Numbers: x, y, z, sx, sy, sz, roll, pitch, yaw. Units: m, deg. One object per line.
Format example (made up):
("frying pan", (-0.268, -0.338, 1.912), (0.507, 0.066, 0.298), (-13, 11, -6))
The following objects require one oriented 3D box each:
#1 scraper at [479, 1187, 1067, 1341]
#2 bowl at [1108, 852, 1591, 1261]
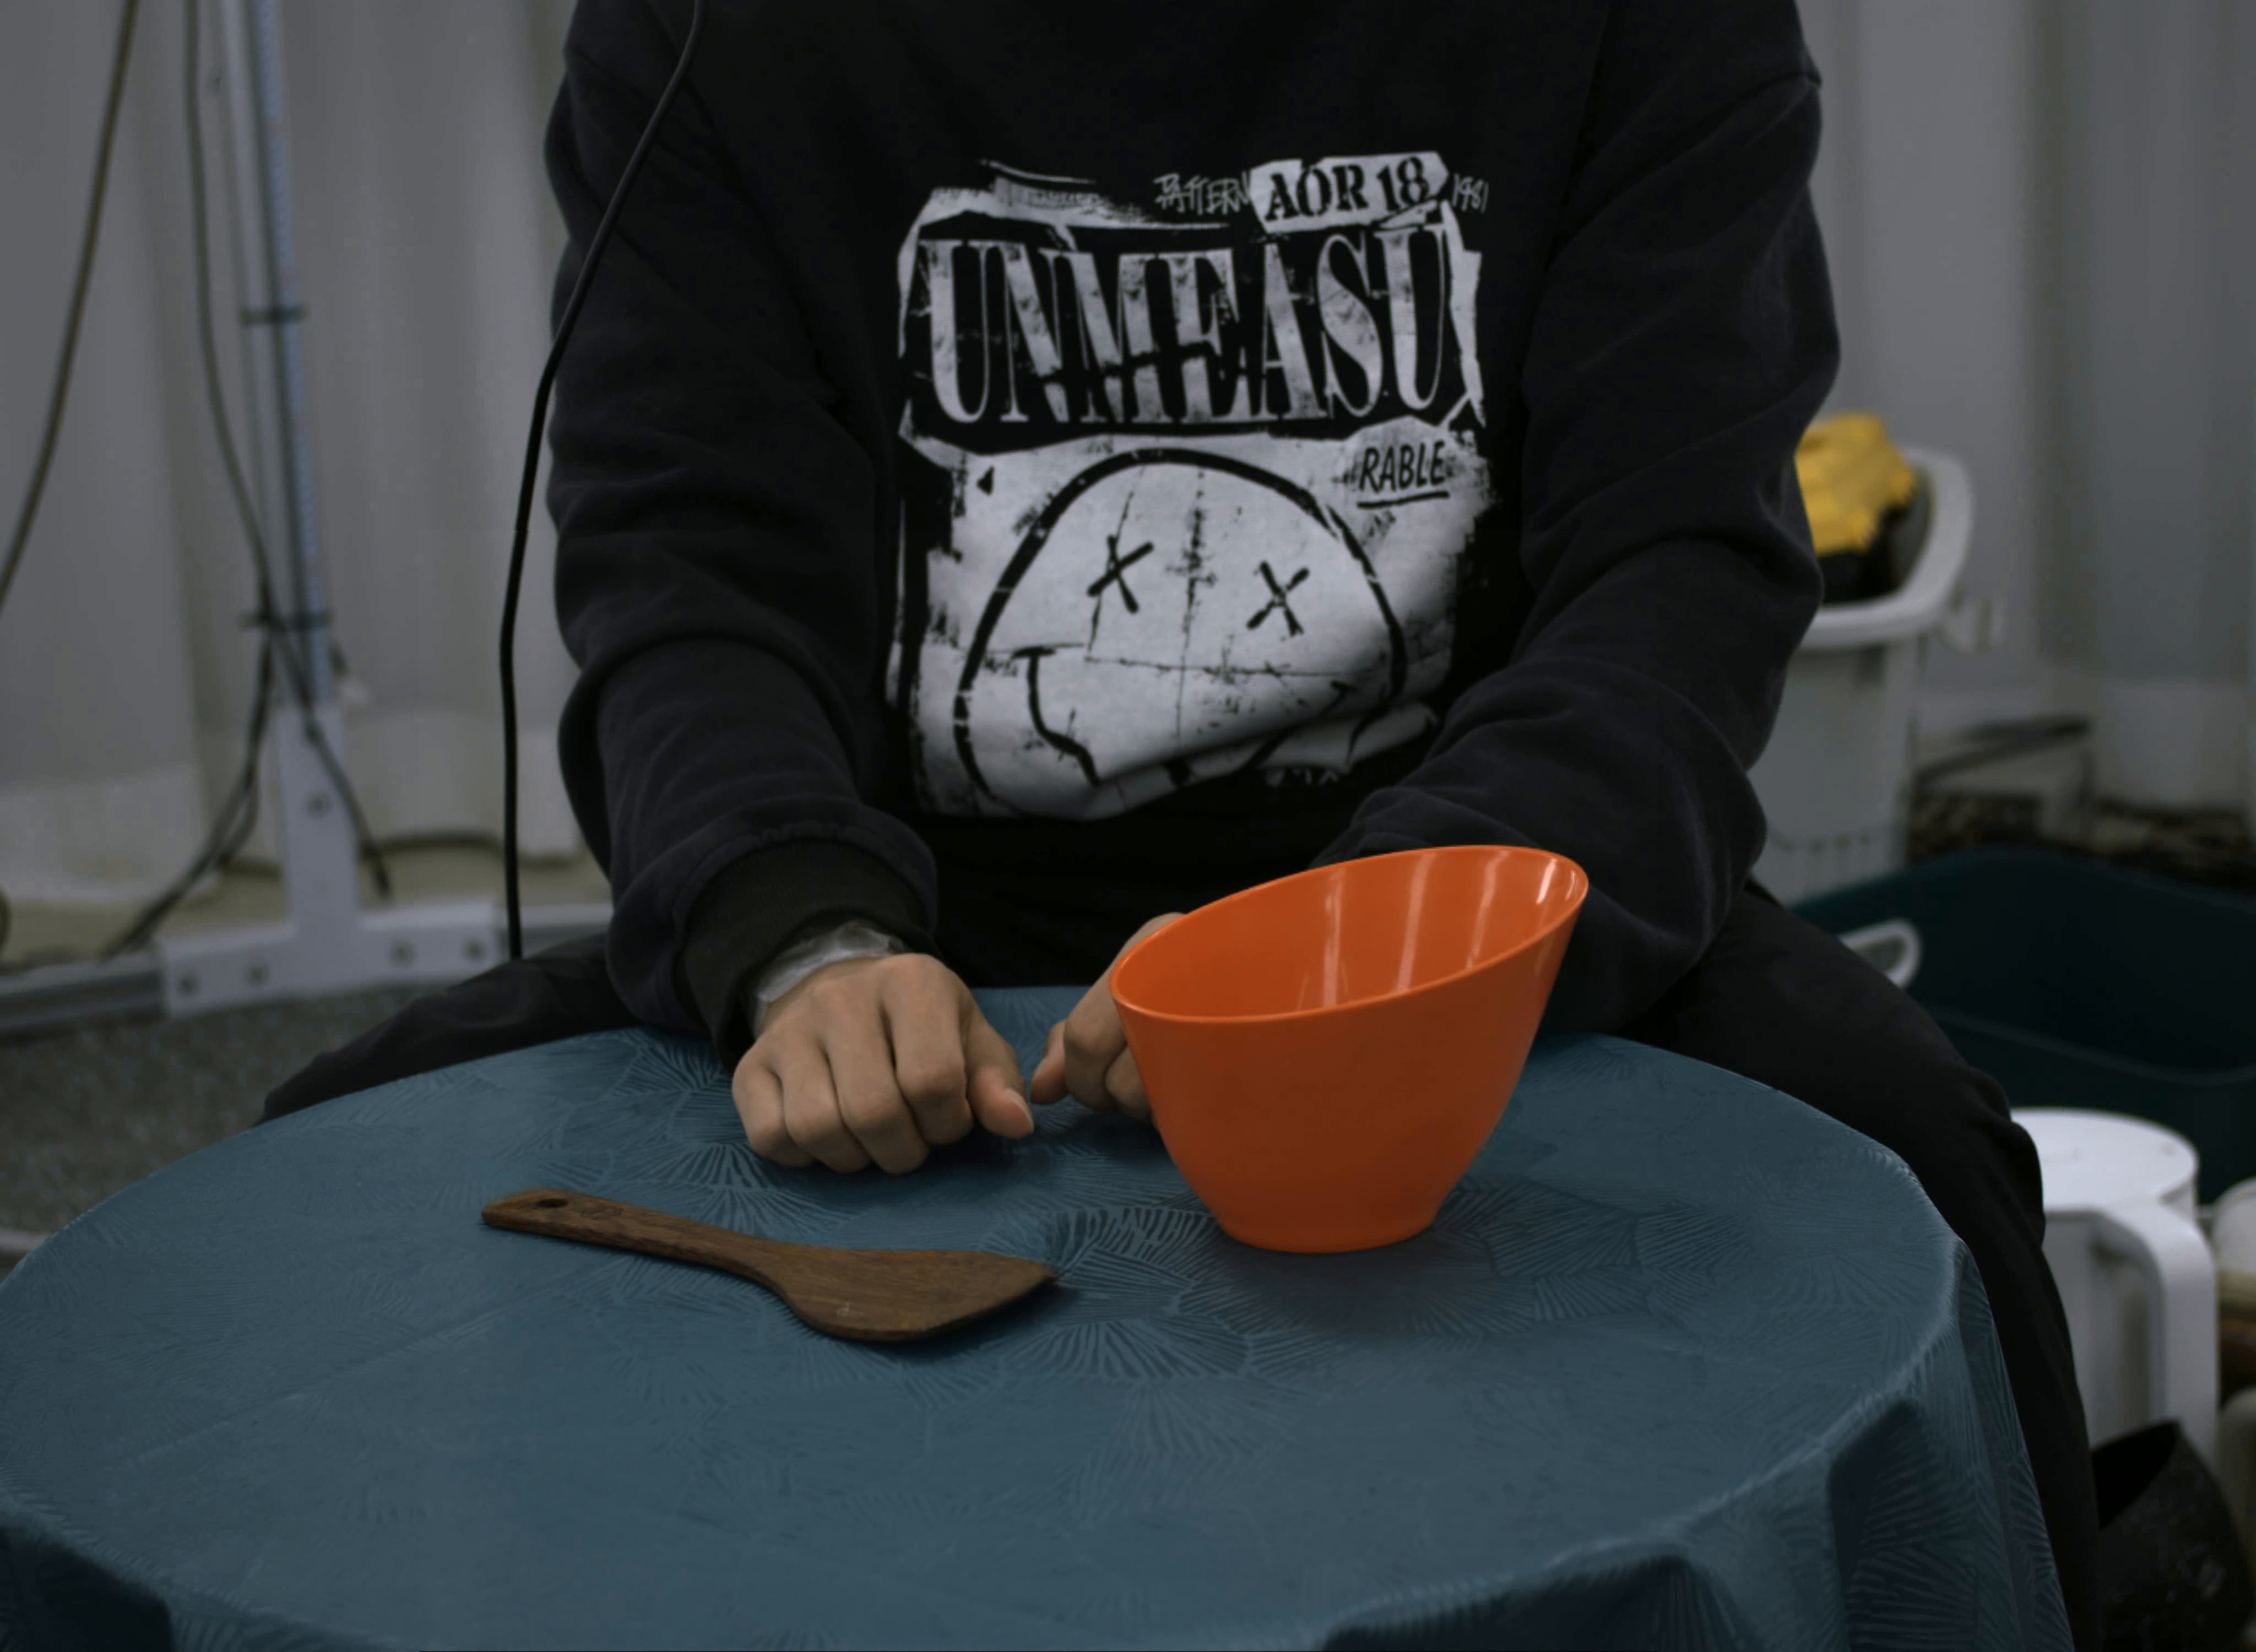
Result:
("scraper", (-0.116, 0.131, 1.662), (0.212, 0.011, 0.076), (8, 17, 38))
("bowl", (0.069, 0.073, 1.666), (0.147, 0.104, 0.149), (-3, 15, 0))
